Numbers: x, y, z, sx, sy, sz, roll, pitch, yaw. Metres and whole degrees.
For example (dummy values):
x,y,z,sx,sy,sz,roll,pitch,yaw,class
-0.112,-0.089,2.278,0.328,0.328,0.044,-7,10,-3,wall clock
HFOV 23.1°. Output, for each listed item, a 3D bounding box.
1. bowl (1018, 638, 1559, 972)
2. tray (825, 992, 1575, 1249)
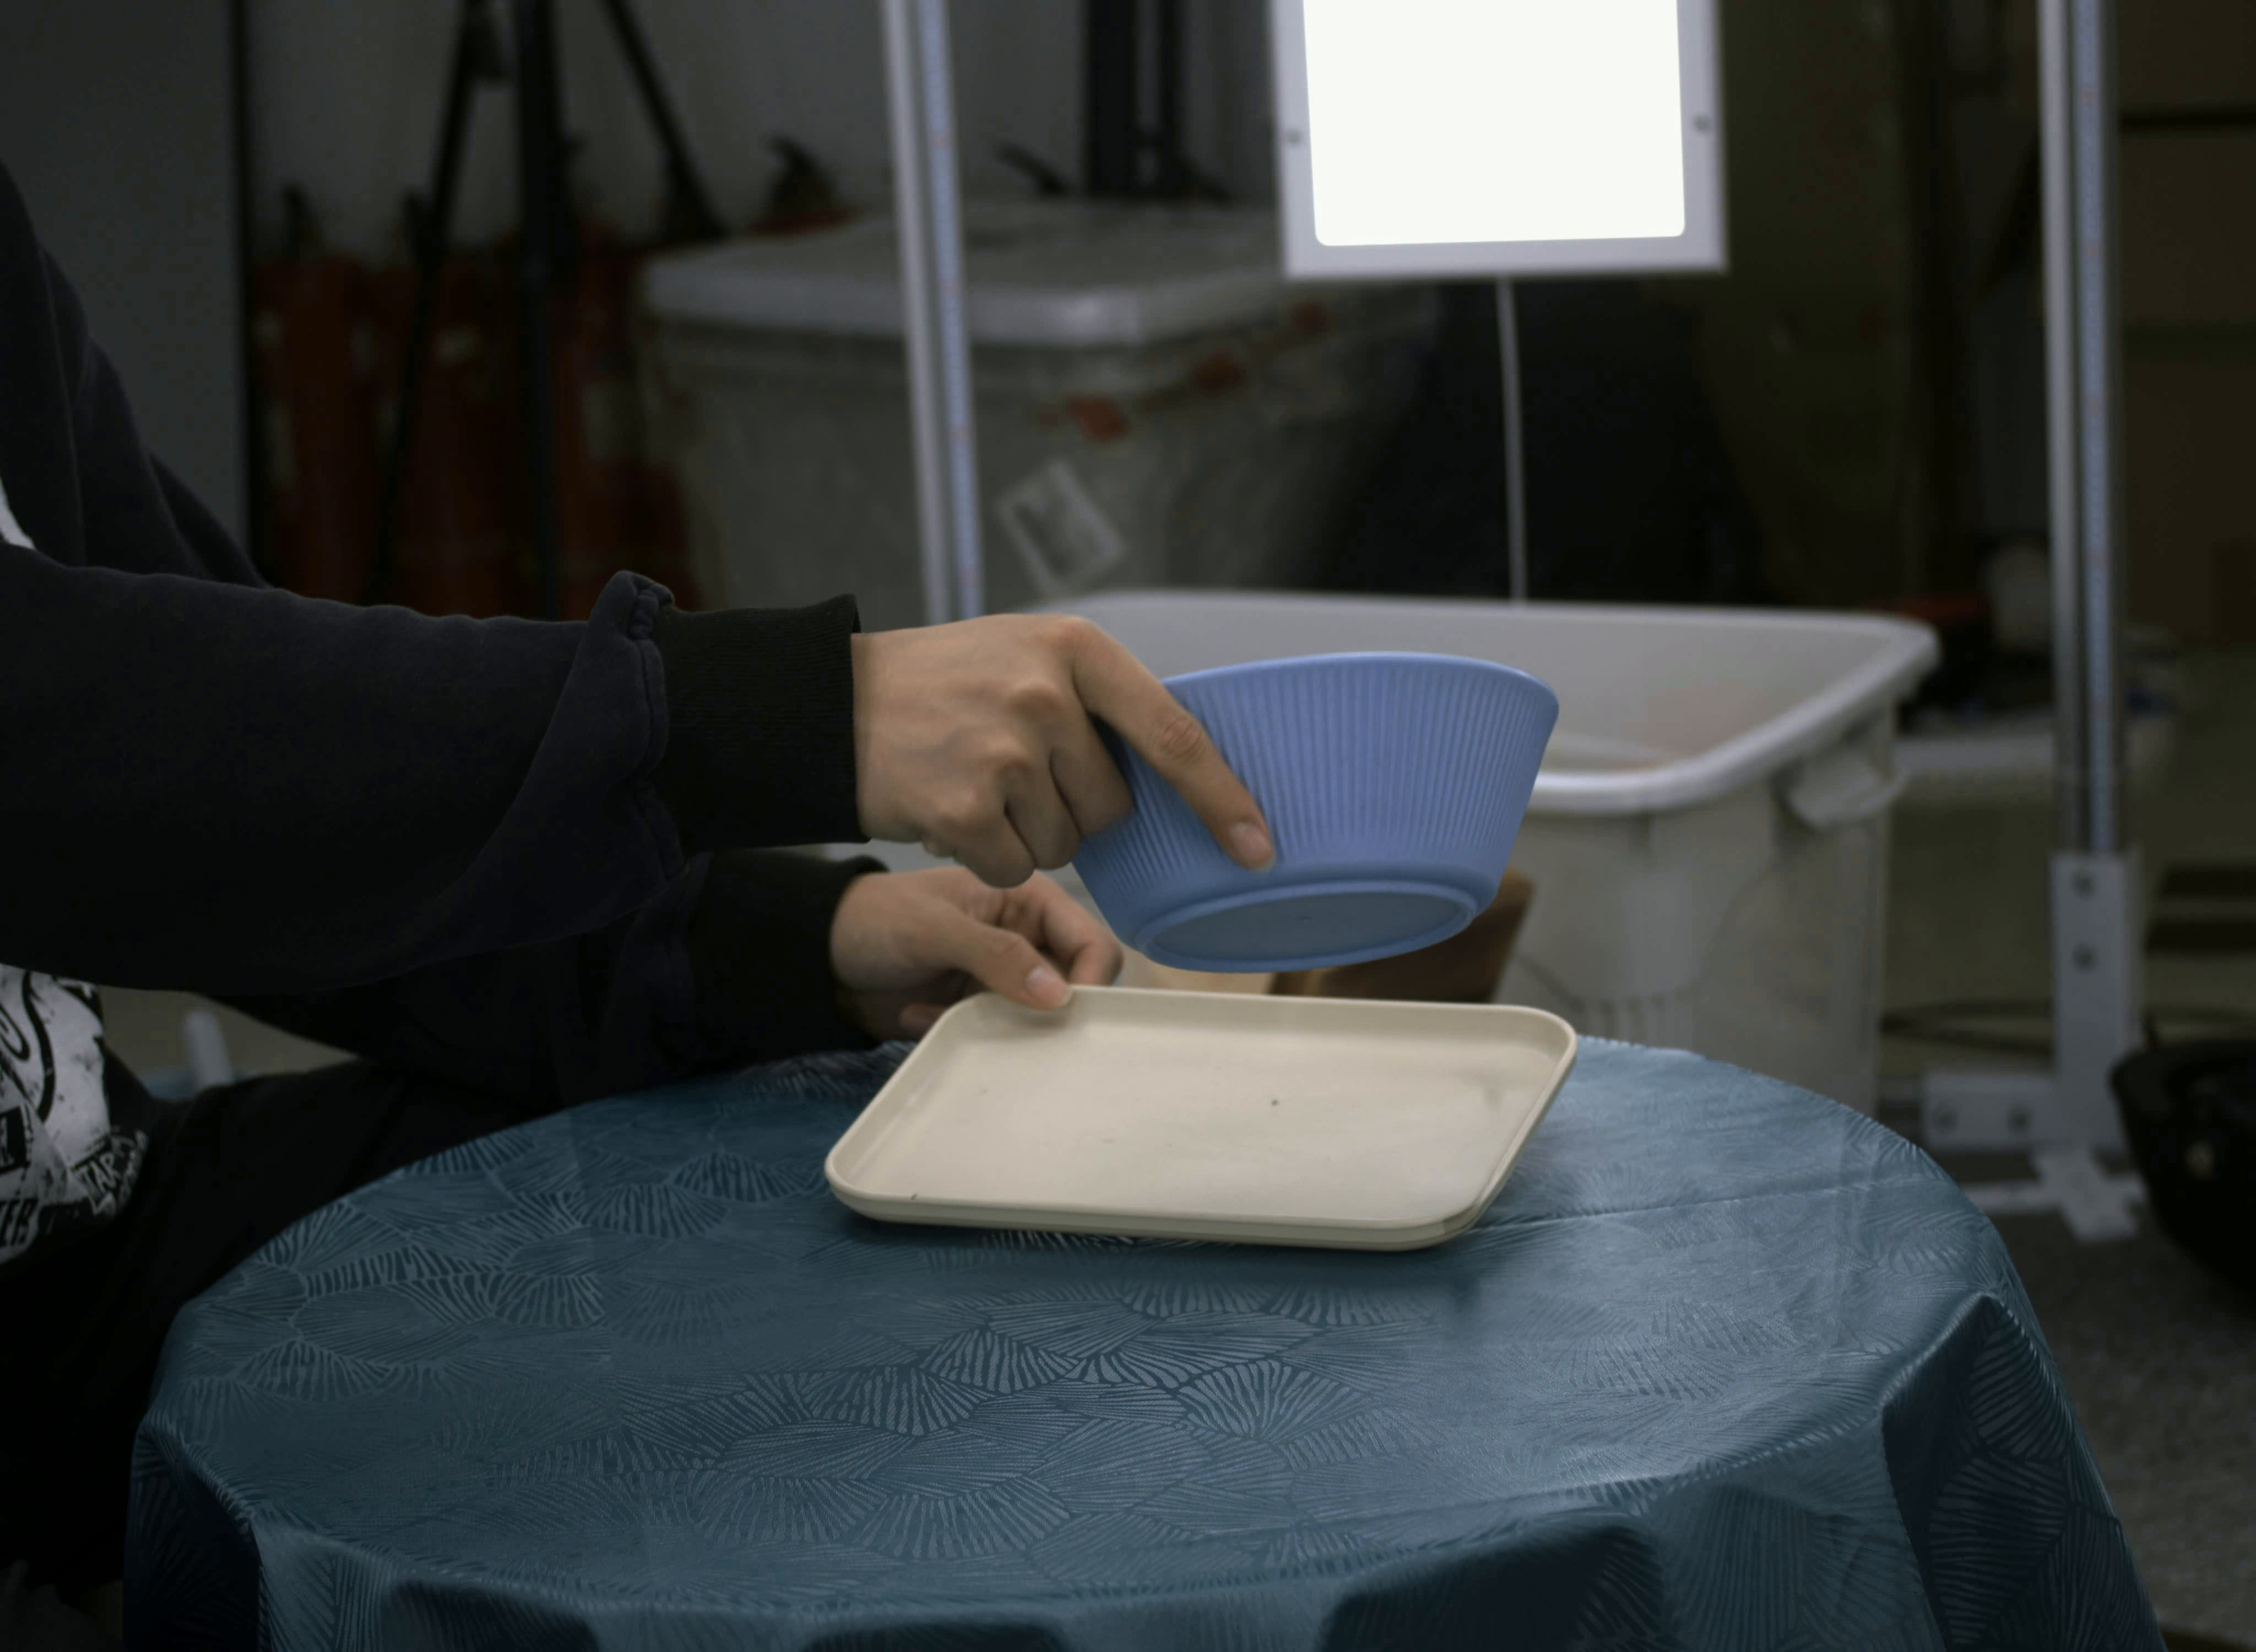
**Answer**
x,y,z,sx,sy,sz,roll,pitch,yaw,class
0.055,-0.001,1.755,0.175,0.070,0.176,-5,-16,-3,bowl
0.027,0.102,1.905,0.243,0.017,0.168,1,23,21,tray
